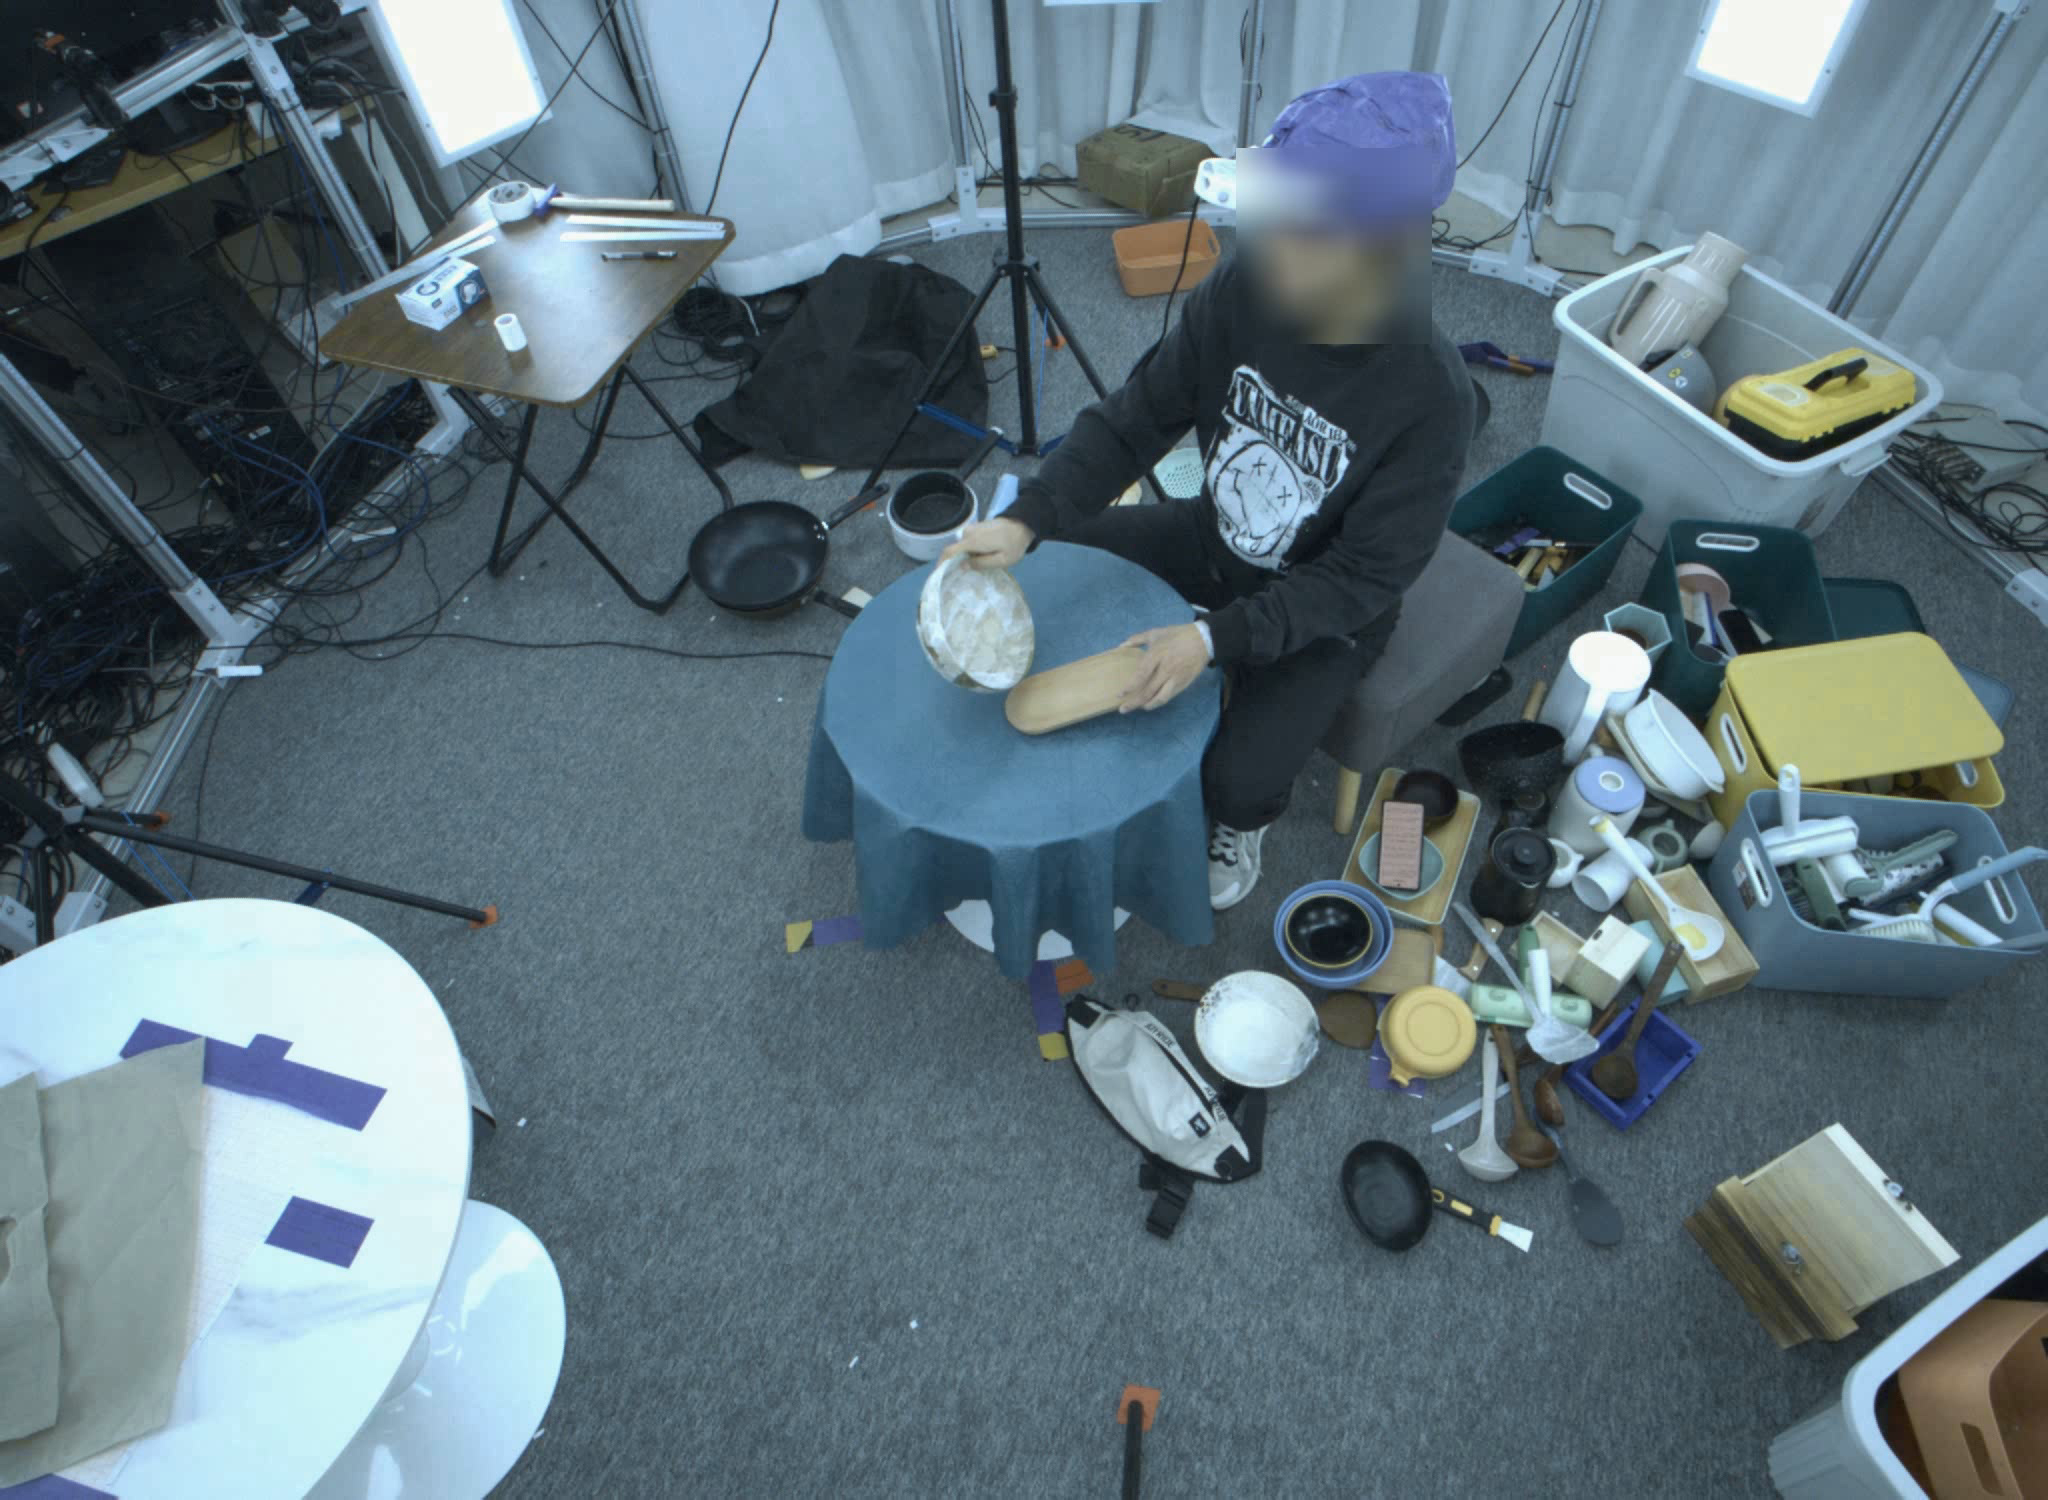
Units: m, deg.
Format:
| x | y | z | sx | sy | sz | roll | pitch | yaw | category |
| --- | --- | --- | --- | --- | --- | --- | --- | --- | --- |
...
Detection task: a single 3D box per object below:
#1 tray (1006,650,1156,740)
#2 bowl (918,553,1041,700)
| x | y | z | sx | sy | sz | roll | pitch | yaw | category |
| --- | --- | --- | --- | --- | --- | --- | --- | --- | --- |
| 0.083 | -0.080 | 1.812 | 0.230 | 0.021 | 0.100 | -20 | 54 | 8 | tray |
| -0.078 | -0.164 | 1.734 | 0.093 | 0.219 | 0.214 | -14 | 47 | 38 | bowl |
